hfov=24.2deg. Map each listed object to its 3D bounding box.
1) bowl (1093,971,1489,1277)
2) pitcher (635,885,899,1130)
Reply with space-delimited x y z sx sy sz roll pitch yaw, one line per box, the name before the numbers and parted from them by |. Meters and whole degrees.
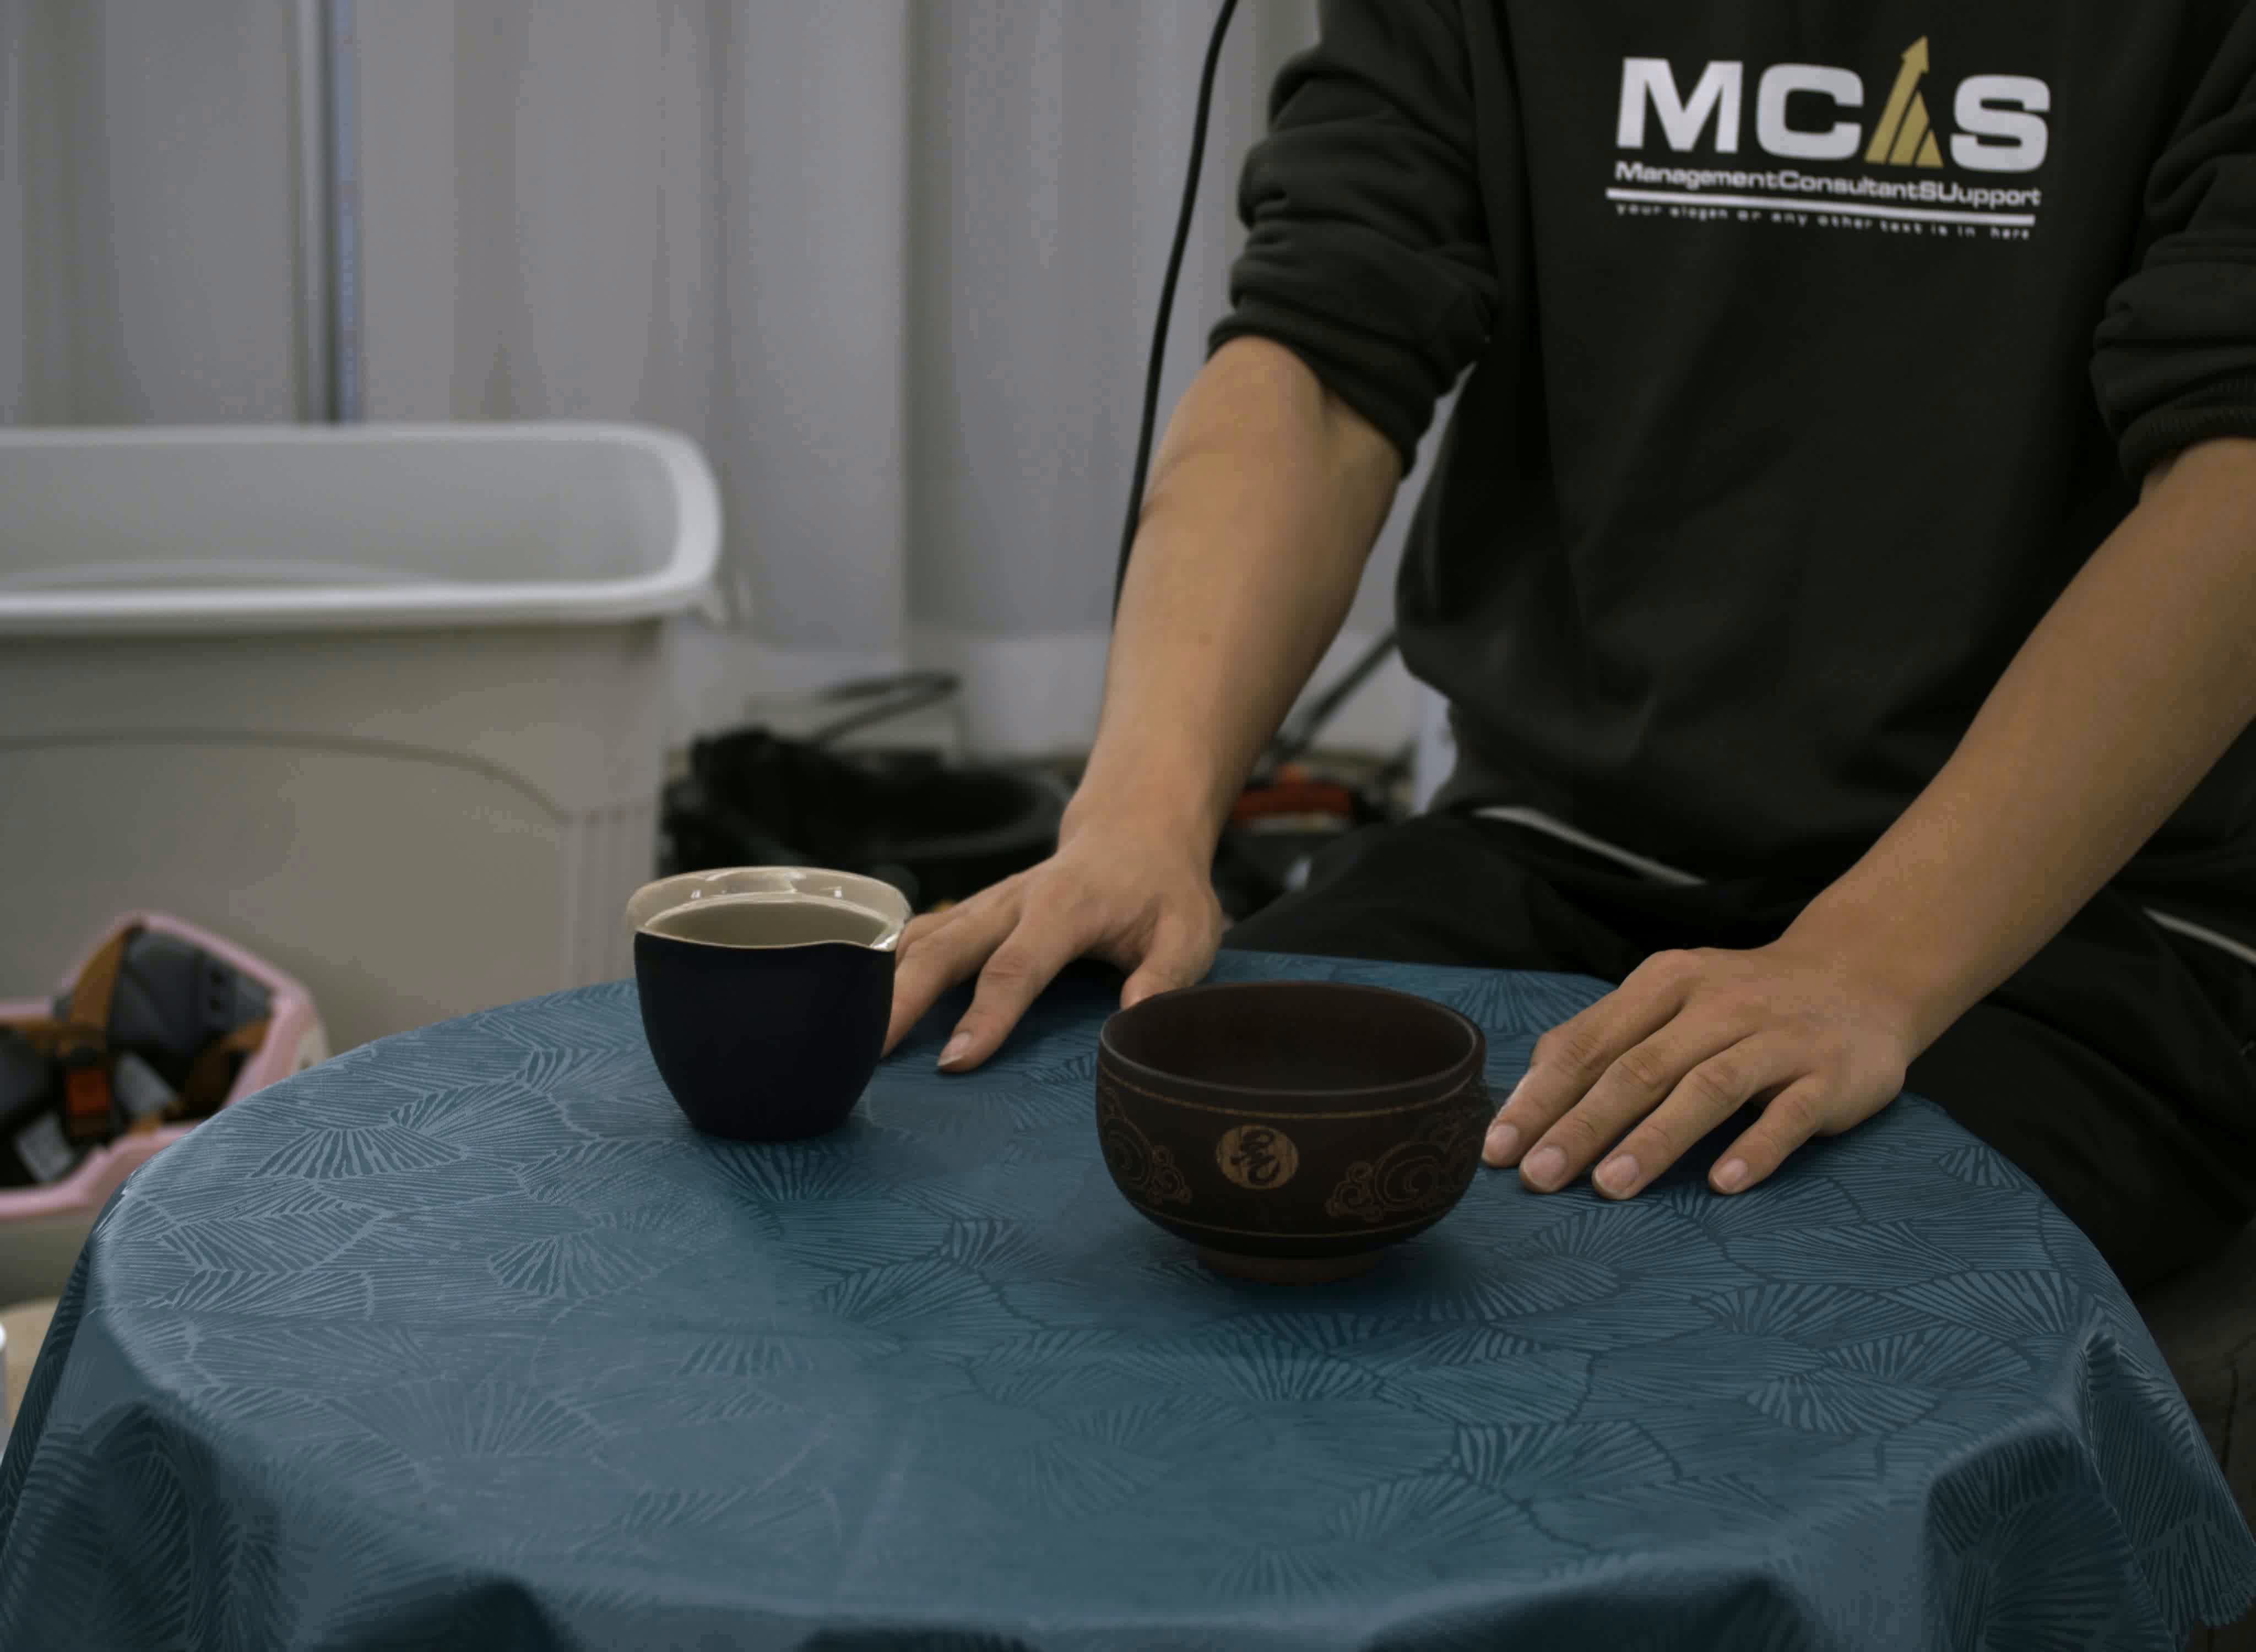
bowl | 0.049 0.093 1.569 0.117 0.070 0.117 0 17 1
pitcher | -0.112 0.057 1.682 0.084 0.072 0.094 -12 19 -42
